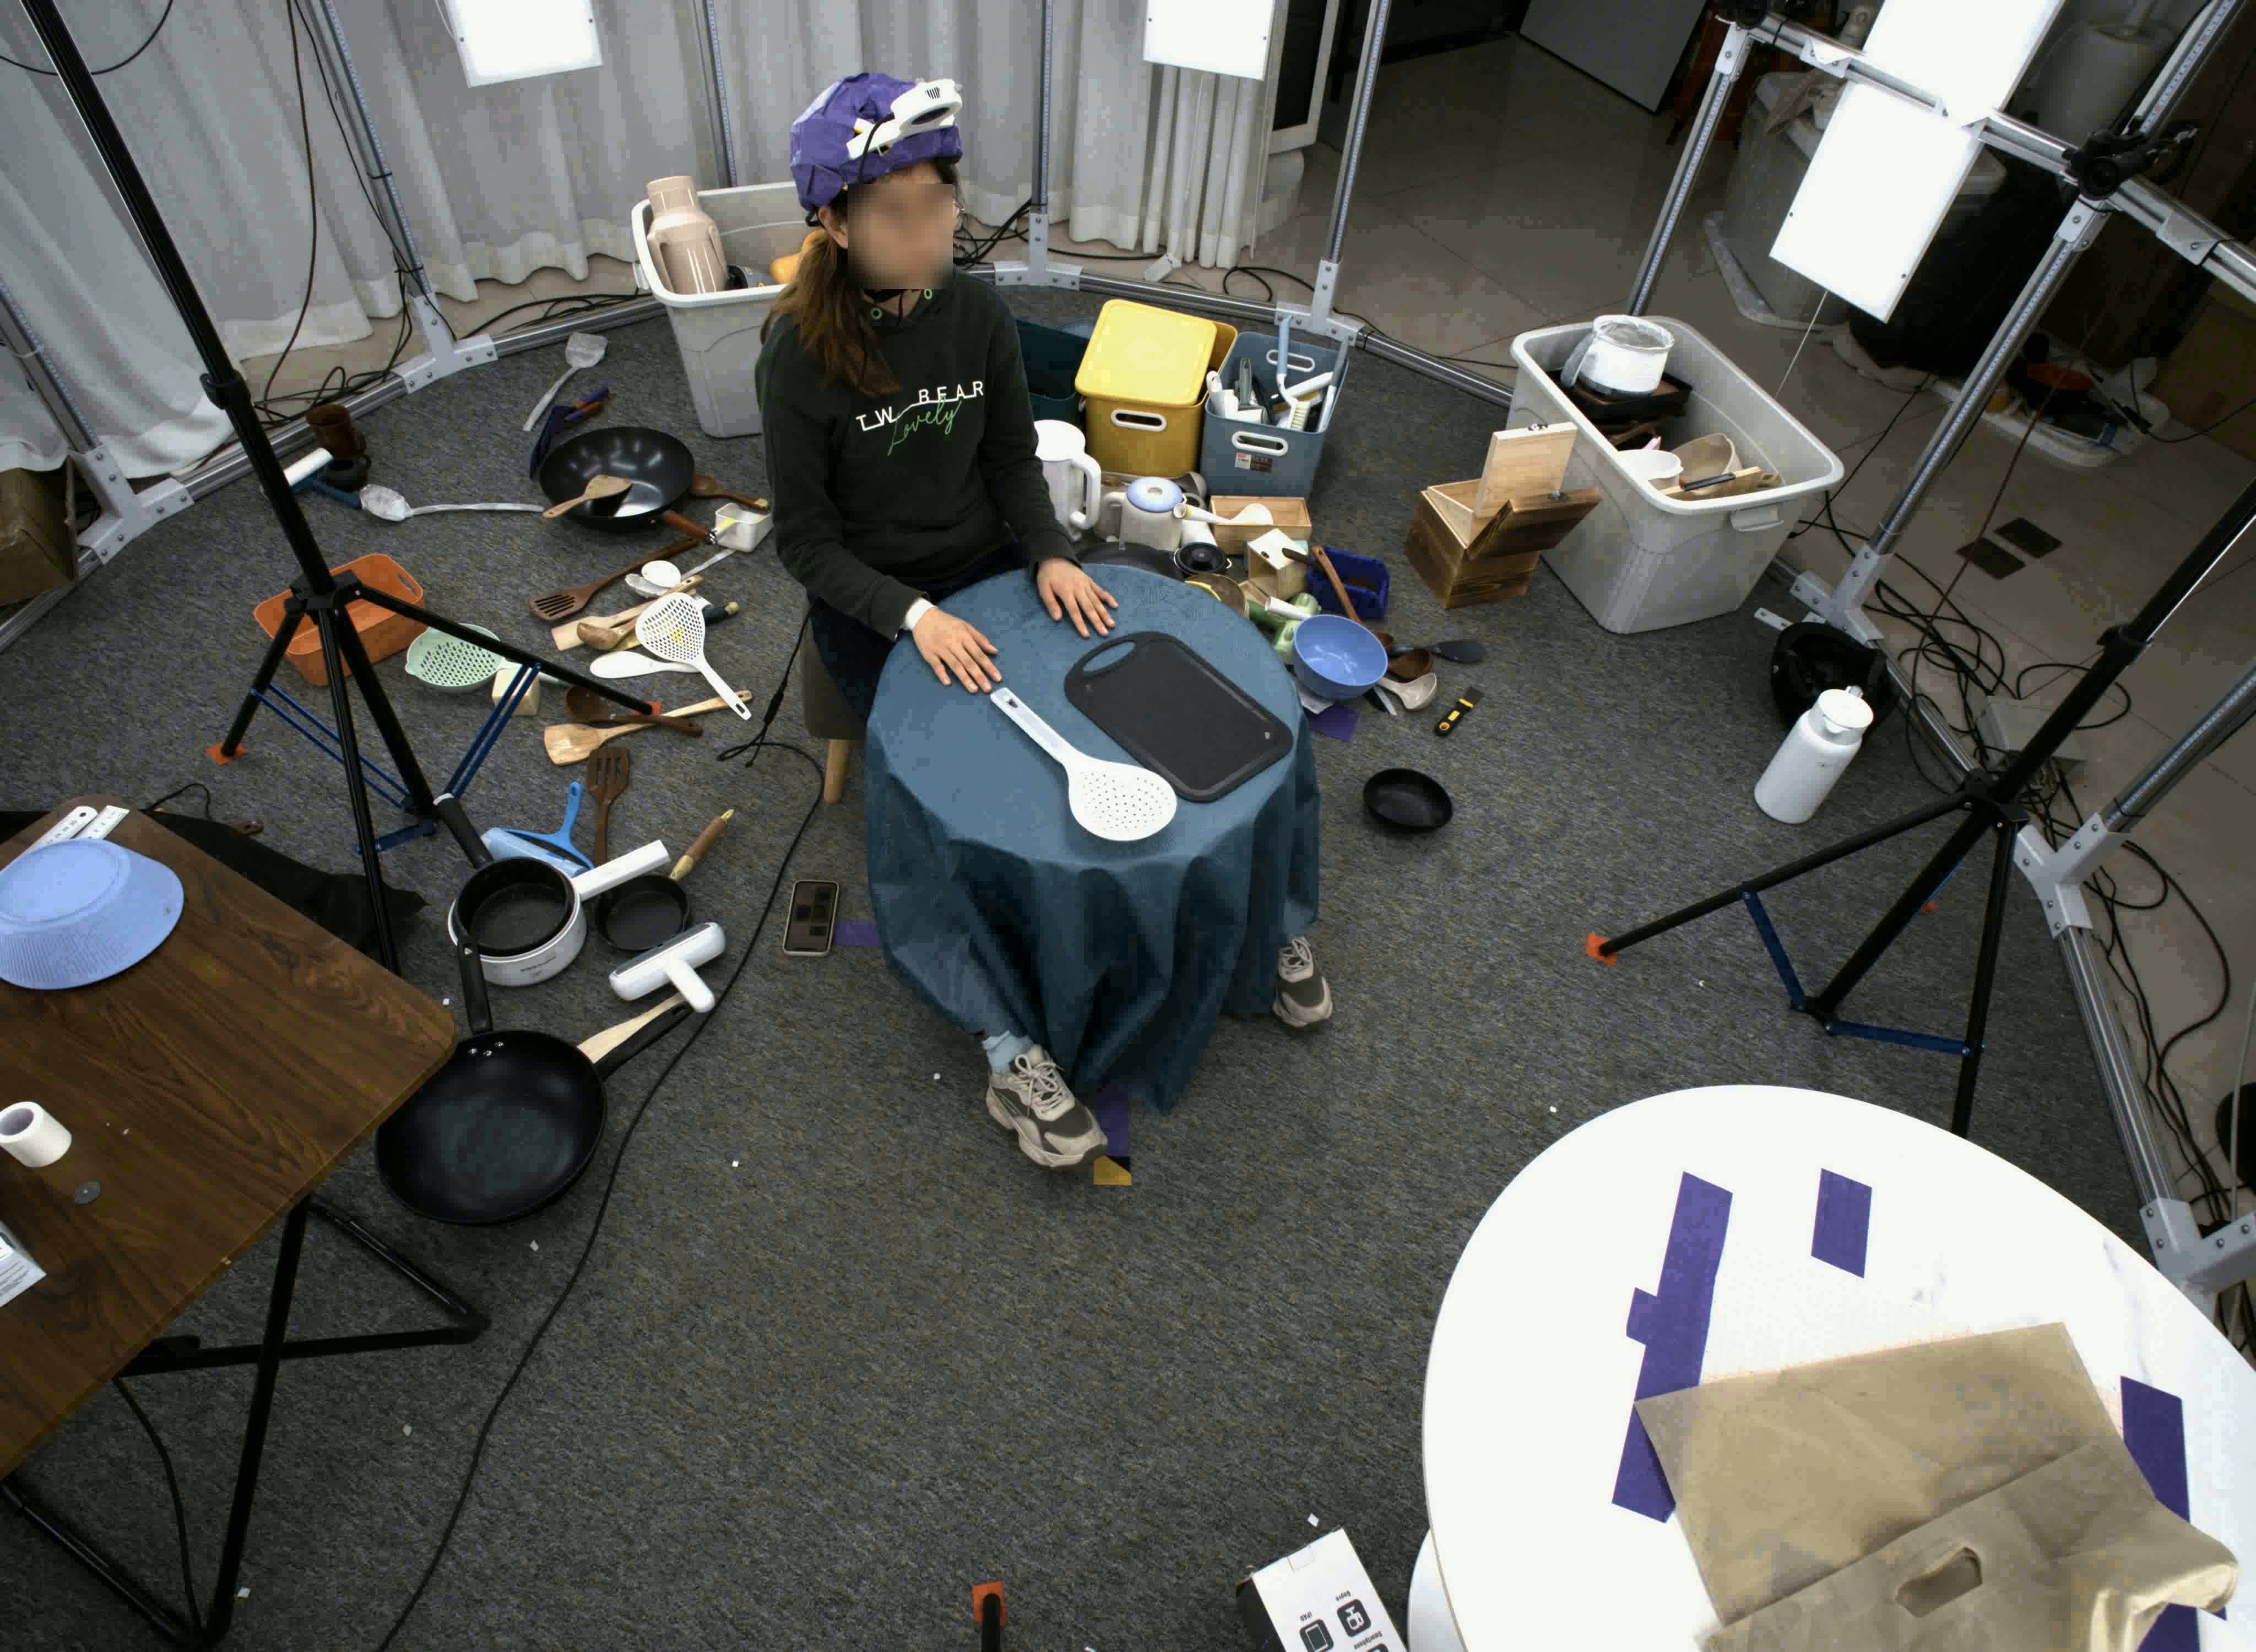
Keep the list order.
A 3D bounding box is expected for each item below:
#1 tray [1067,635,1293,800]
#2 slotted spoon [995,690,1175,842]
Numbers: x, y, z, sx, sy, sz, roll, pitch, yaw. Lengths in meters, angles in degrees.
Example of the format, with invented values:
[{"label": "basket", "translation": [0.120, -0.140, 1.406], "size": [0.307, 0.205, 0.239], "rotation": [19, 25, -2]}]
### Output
[{"label": "tray", "translation": [0.066, -0.167, 1.829], "size": [0.212, 0.009, 0.331], "rotation": [-31, 57, -27]}, {"label": "slotted spoon", "translation": [-0.073, -0.087, 1.725], "size": [0.137, 0.044, 0.356], "rotation": [-27, 55, -27]}]
